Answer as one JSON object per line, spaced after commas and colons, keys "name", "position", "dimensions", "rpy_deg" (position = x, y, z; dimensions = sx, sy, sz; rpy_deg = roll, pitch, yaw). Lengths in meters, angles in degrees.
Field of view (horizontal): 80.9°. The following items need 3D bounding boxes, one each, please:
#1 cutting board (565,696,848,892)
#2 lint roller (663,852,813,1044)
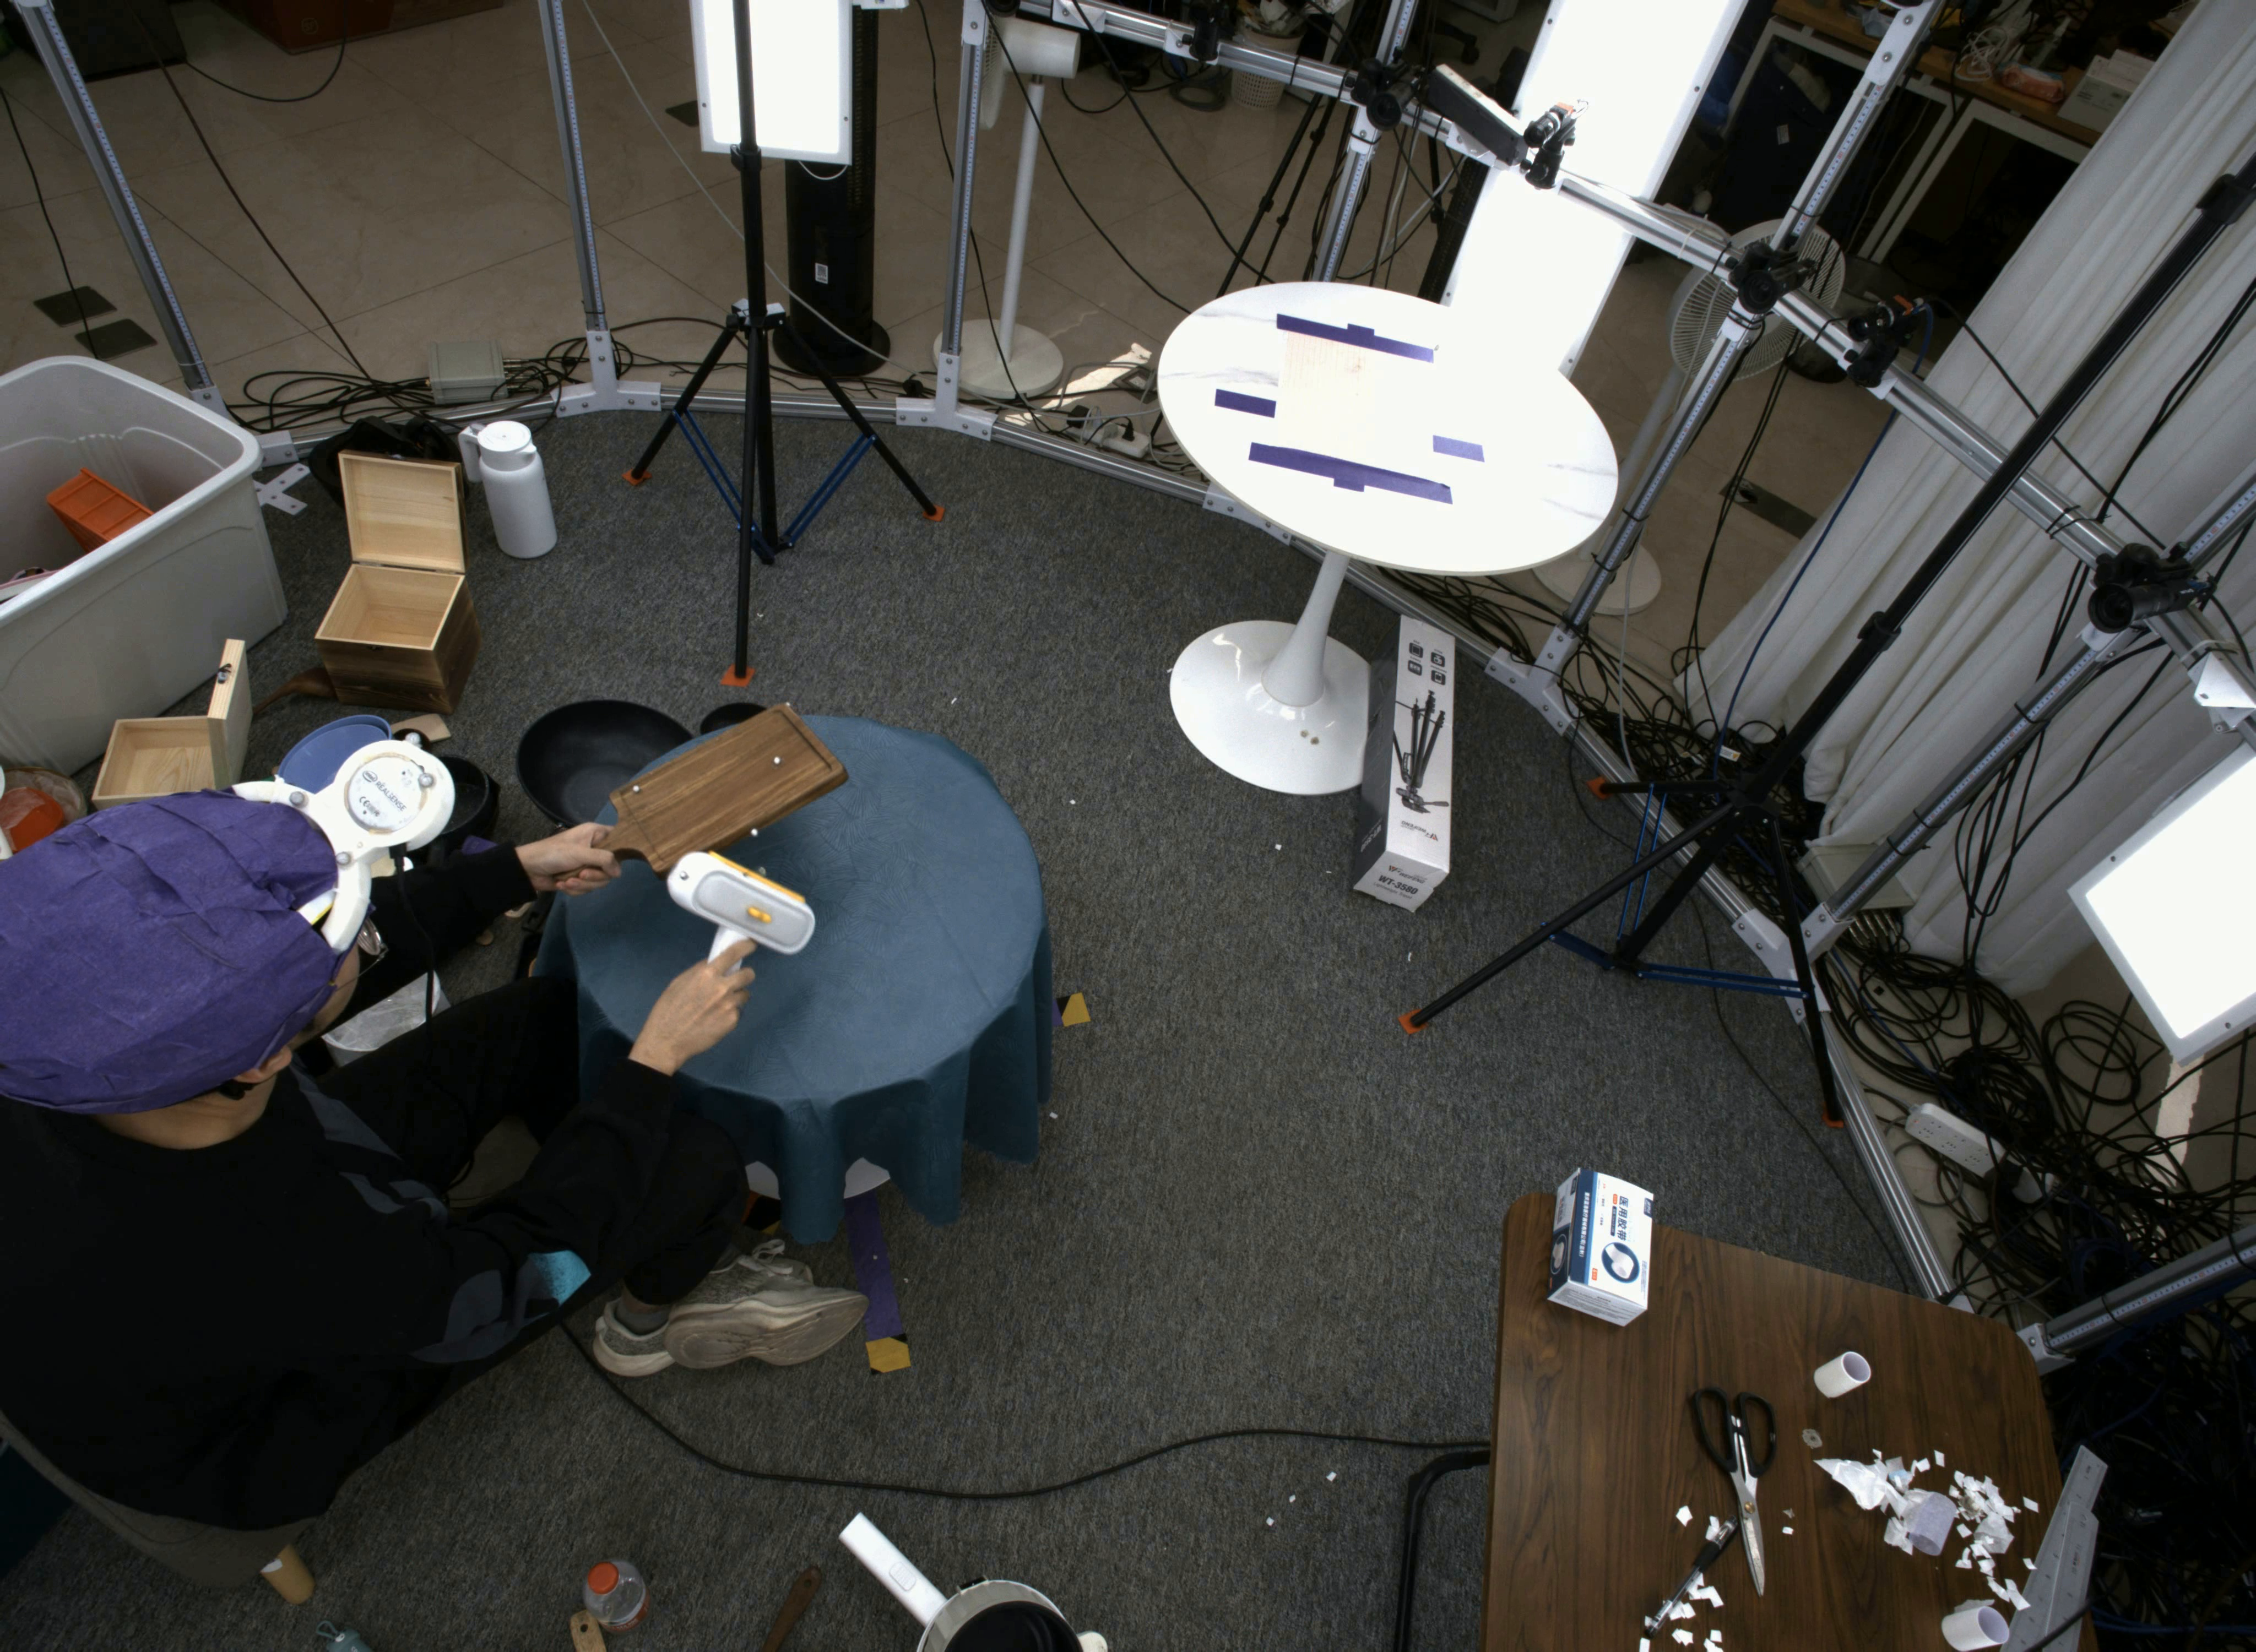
{"name": "cutting board", "position": [-0.528, -0.028, 1.552], "dimensions": [0.352, 0.024, 0.193], "rpy_deg": [-33, 47, -19]}
{"name": "lint roller", "position": [-0.453, 0.144, 1.456], "dimensions": [0.071, 0.199, 0.193], "rpy_deg": [15, 79, 33]}
